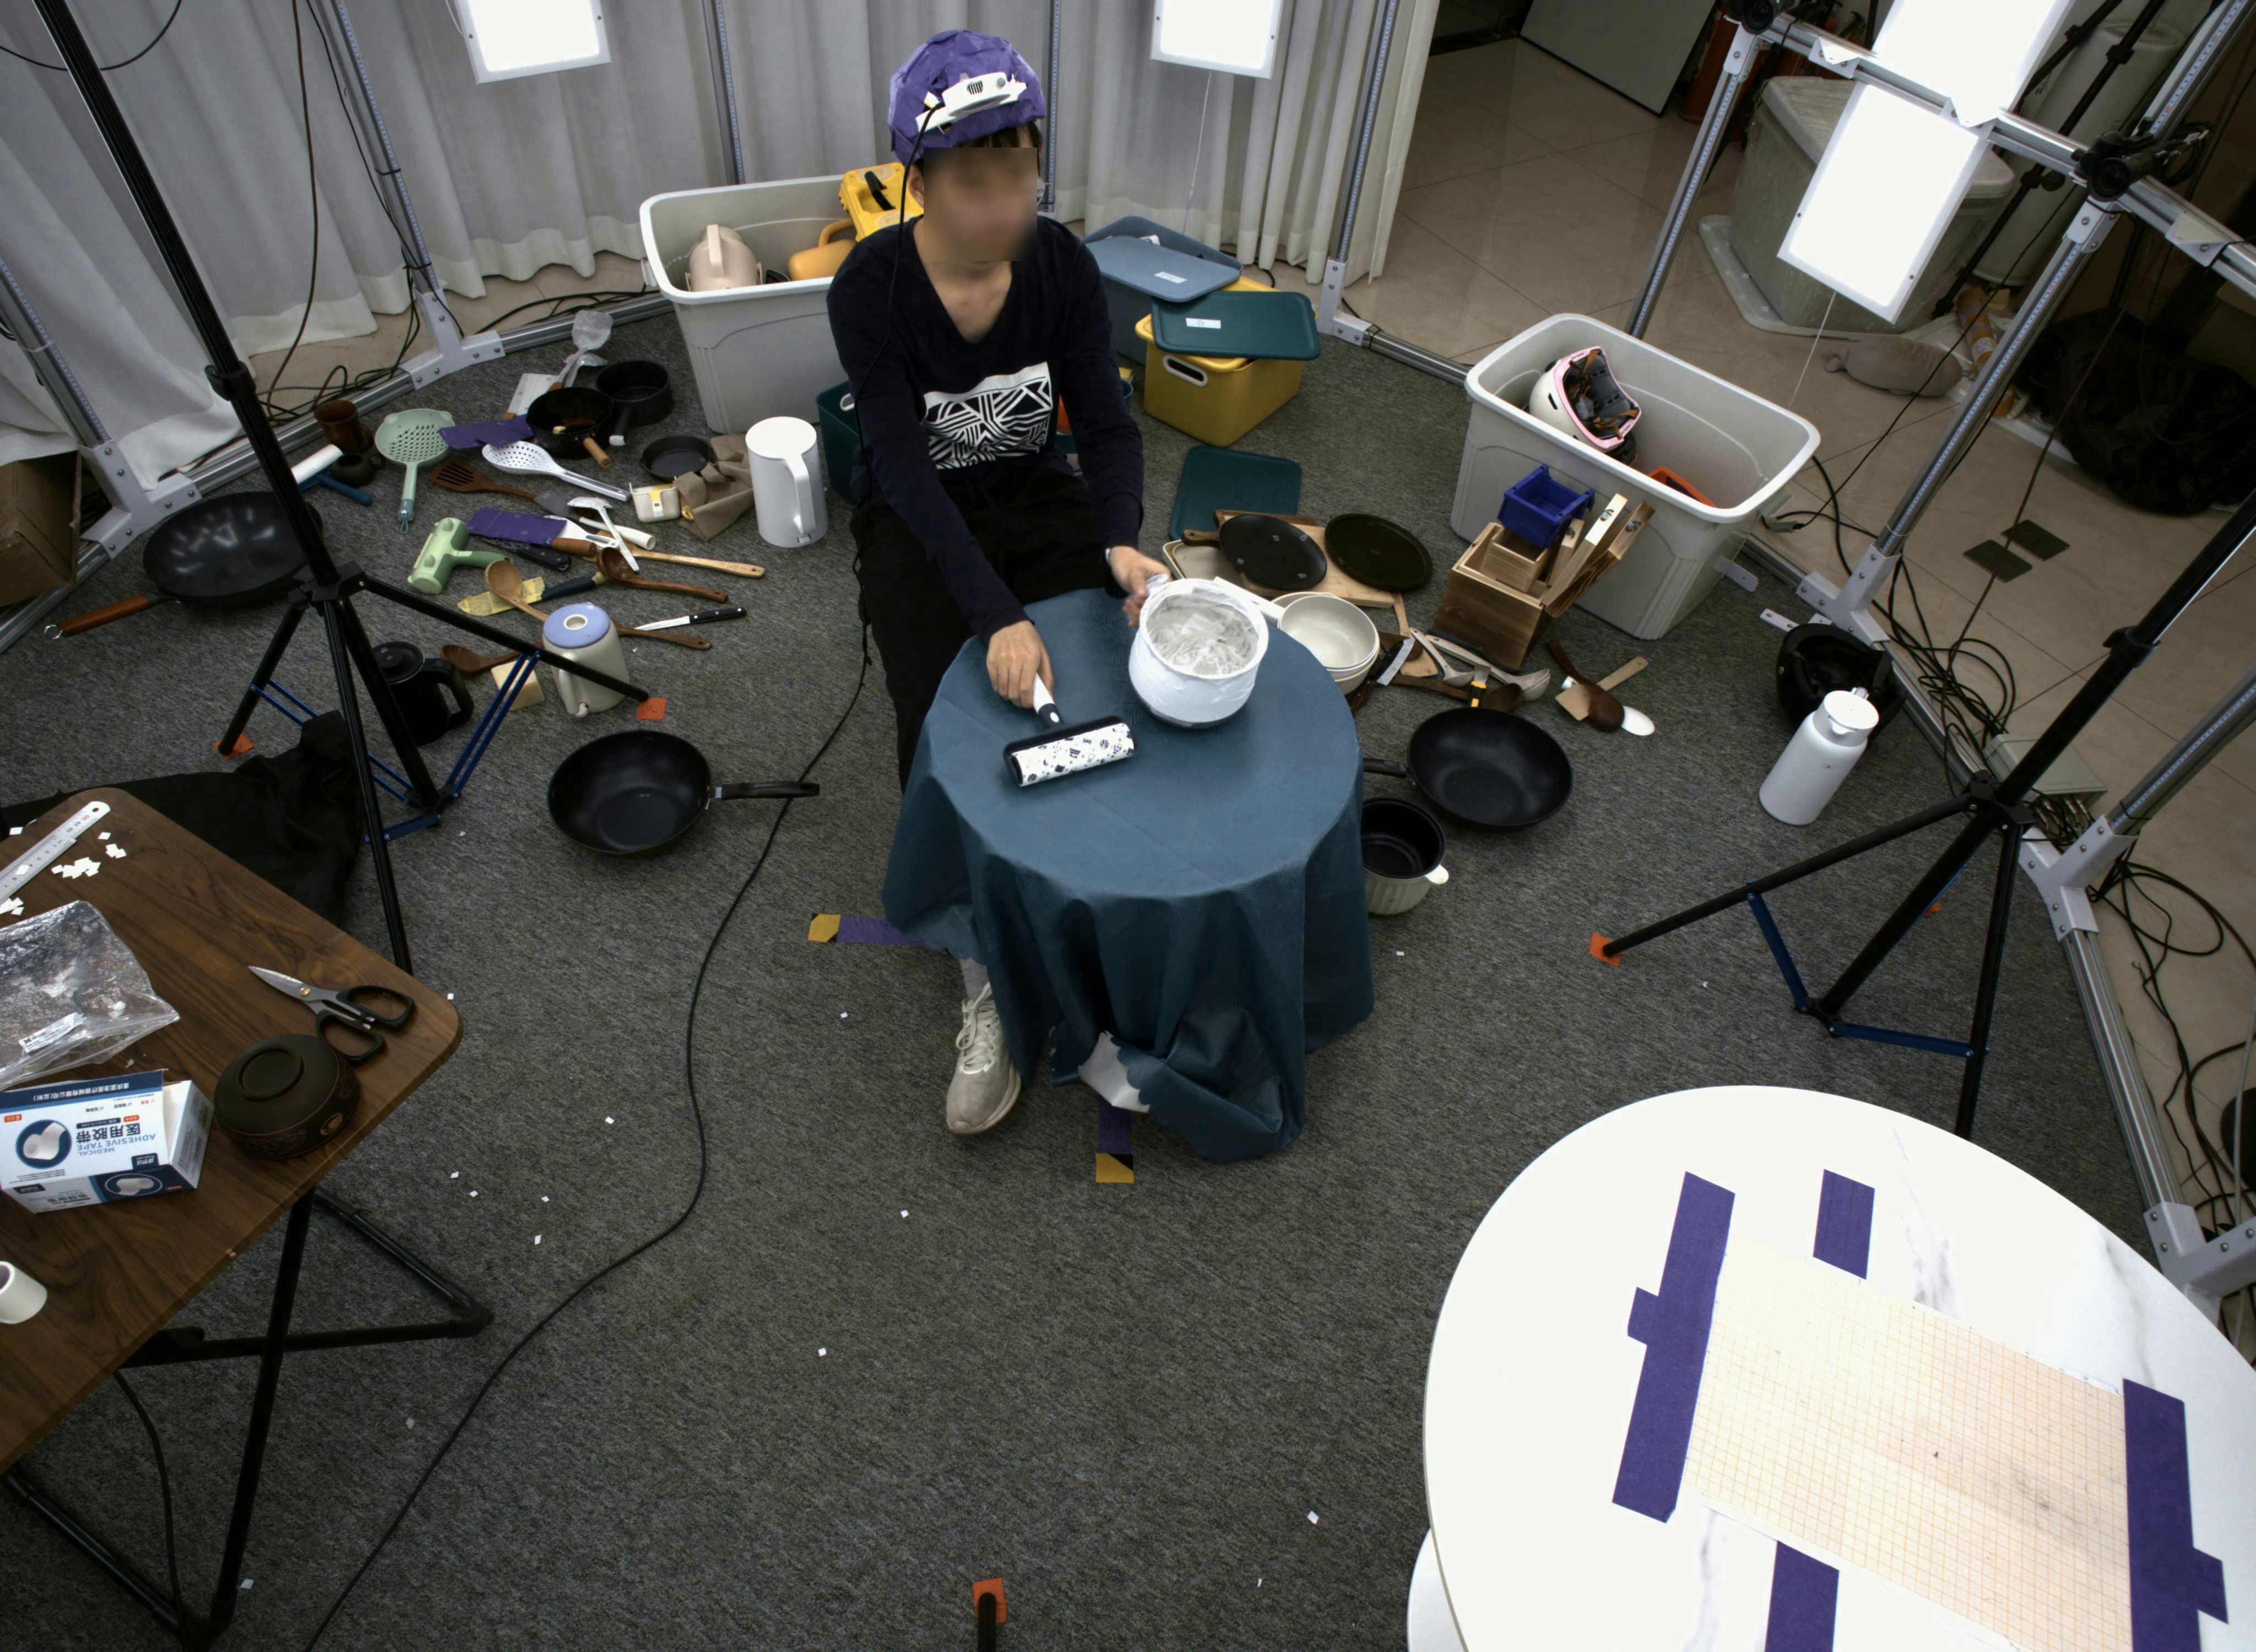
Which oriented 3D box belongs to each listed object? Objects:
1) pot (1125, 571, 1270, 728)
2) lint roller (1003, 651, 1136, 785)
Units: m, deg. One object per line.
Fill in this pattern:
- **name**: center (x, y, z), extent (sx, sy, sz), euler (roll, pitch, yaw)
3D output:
- **pot**: center (0.078, -0.256, 1.787), extent (0.179, 0.134, 0.237), euler (-26, 65, -27)
- **lint roller**: center (-0.116, -0.168, 1.776), extent (0.176, 0.049, 0.253), euler (-18, 51, -17)
